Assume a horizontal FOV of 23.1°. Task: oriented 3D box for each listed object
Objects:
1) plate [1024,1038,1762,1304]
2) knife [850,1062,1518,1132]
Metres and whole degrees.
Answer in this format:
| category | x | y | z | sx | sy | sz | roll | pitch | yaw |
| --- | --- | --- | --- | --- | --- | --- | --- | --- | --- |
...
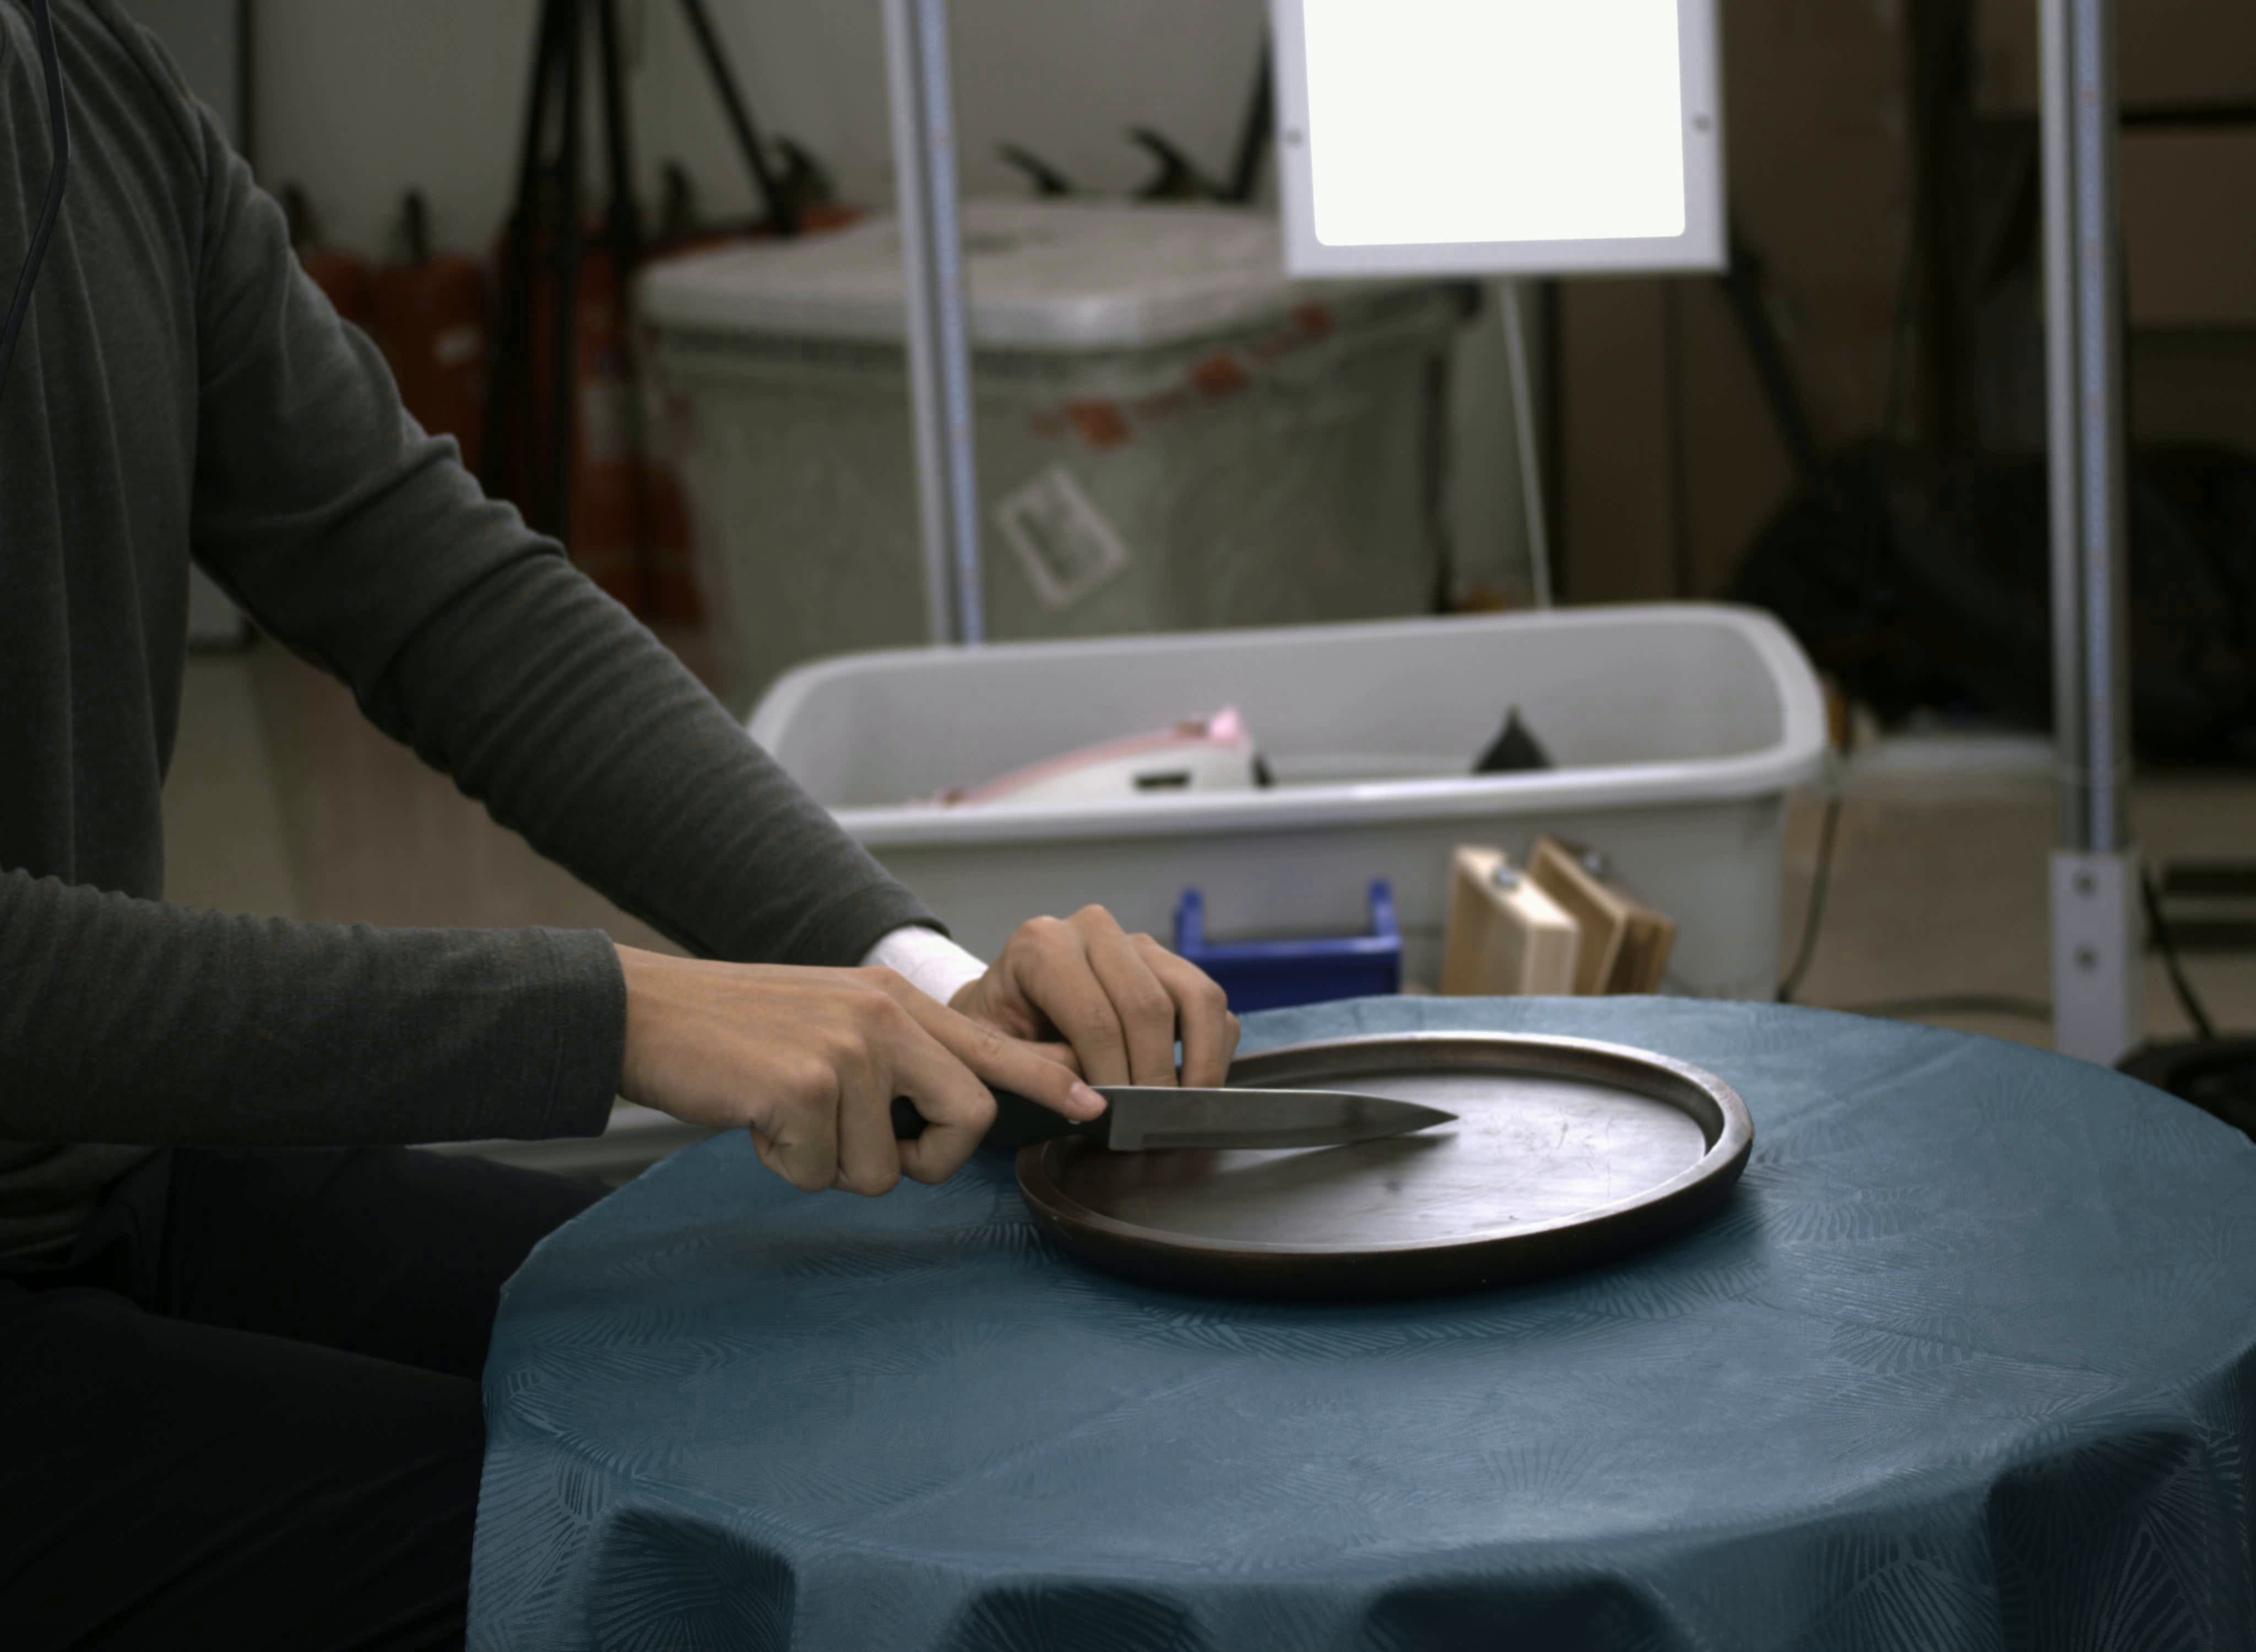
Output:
| category | x | y | z | sx | sy | sz | roll | pitch | yaw |
| --- | --- | --- | --- | --- | --- | --- | --- | --- | --- |
| plate | 0.090 | 0.115 | 1.871 | 0.254 | 0.029 | 0.254 | -4 | 13 | 0 |
| knife | 0.021 | 0.092 | 1.882 | 0.235 | 0.024 | 0.016 | 1 | 6 | -12 |
